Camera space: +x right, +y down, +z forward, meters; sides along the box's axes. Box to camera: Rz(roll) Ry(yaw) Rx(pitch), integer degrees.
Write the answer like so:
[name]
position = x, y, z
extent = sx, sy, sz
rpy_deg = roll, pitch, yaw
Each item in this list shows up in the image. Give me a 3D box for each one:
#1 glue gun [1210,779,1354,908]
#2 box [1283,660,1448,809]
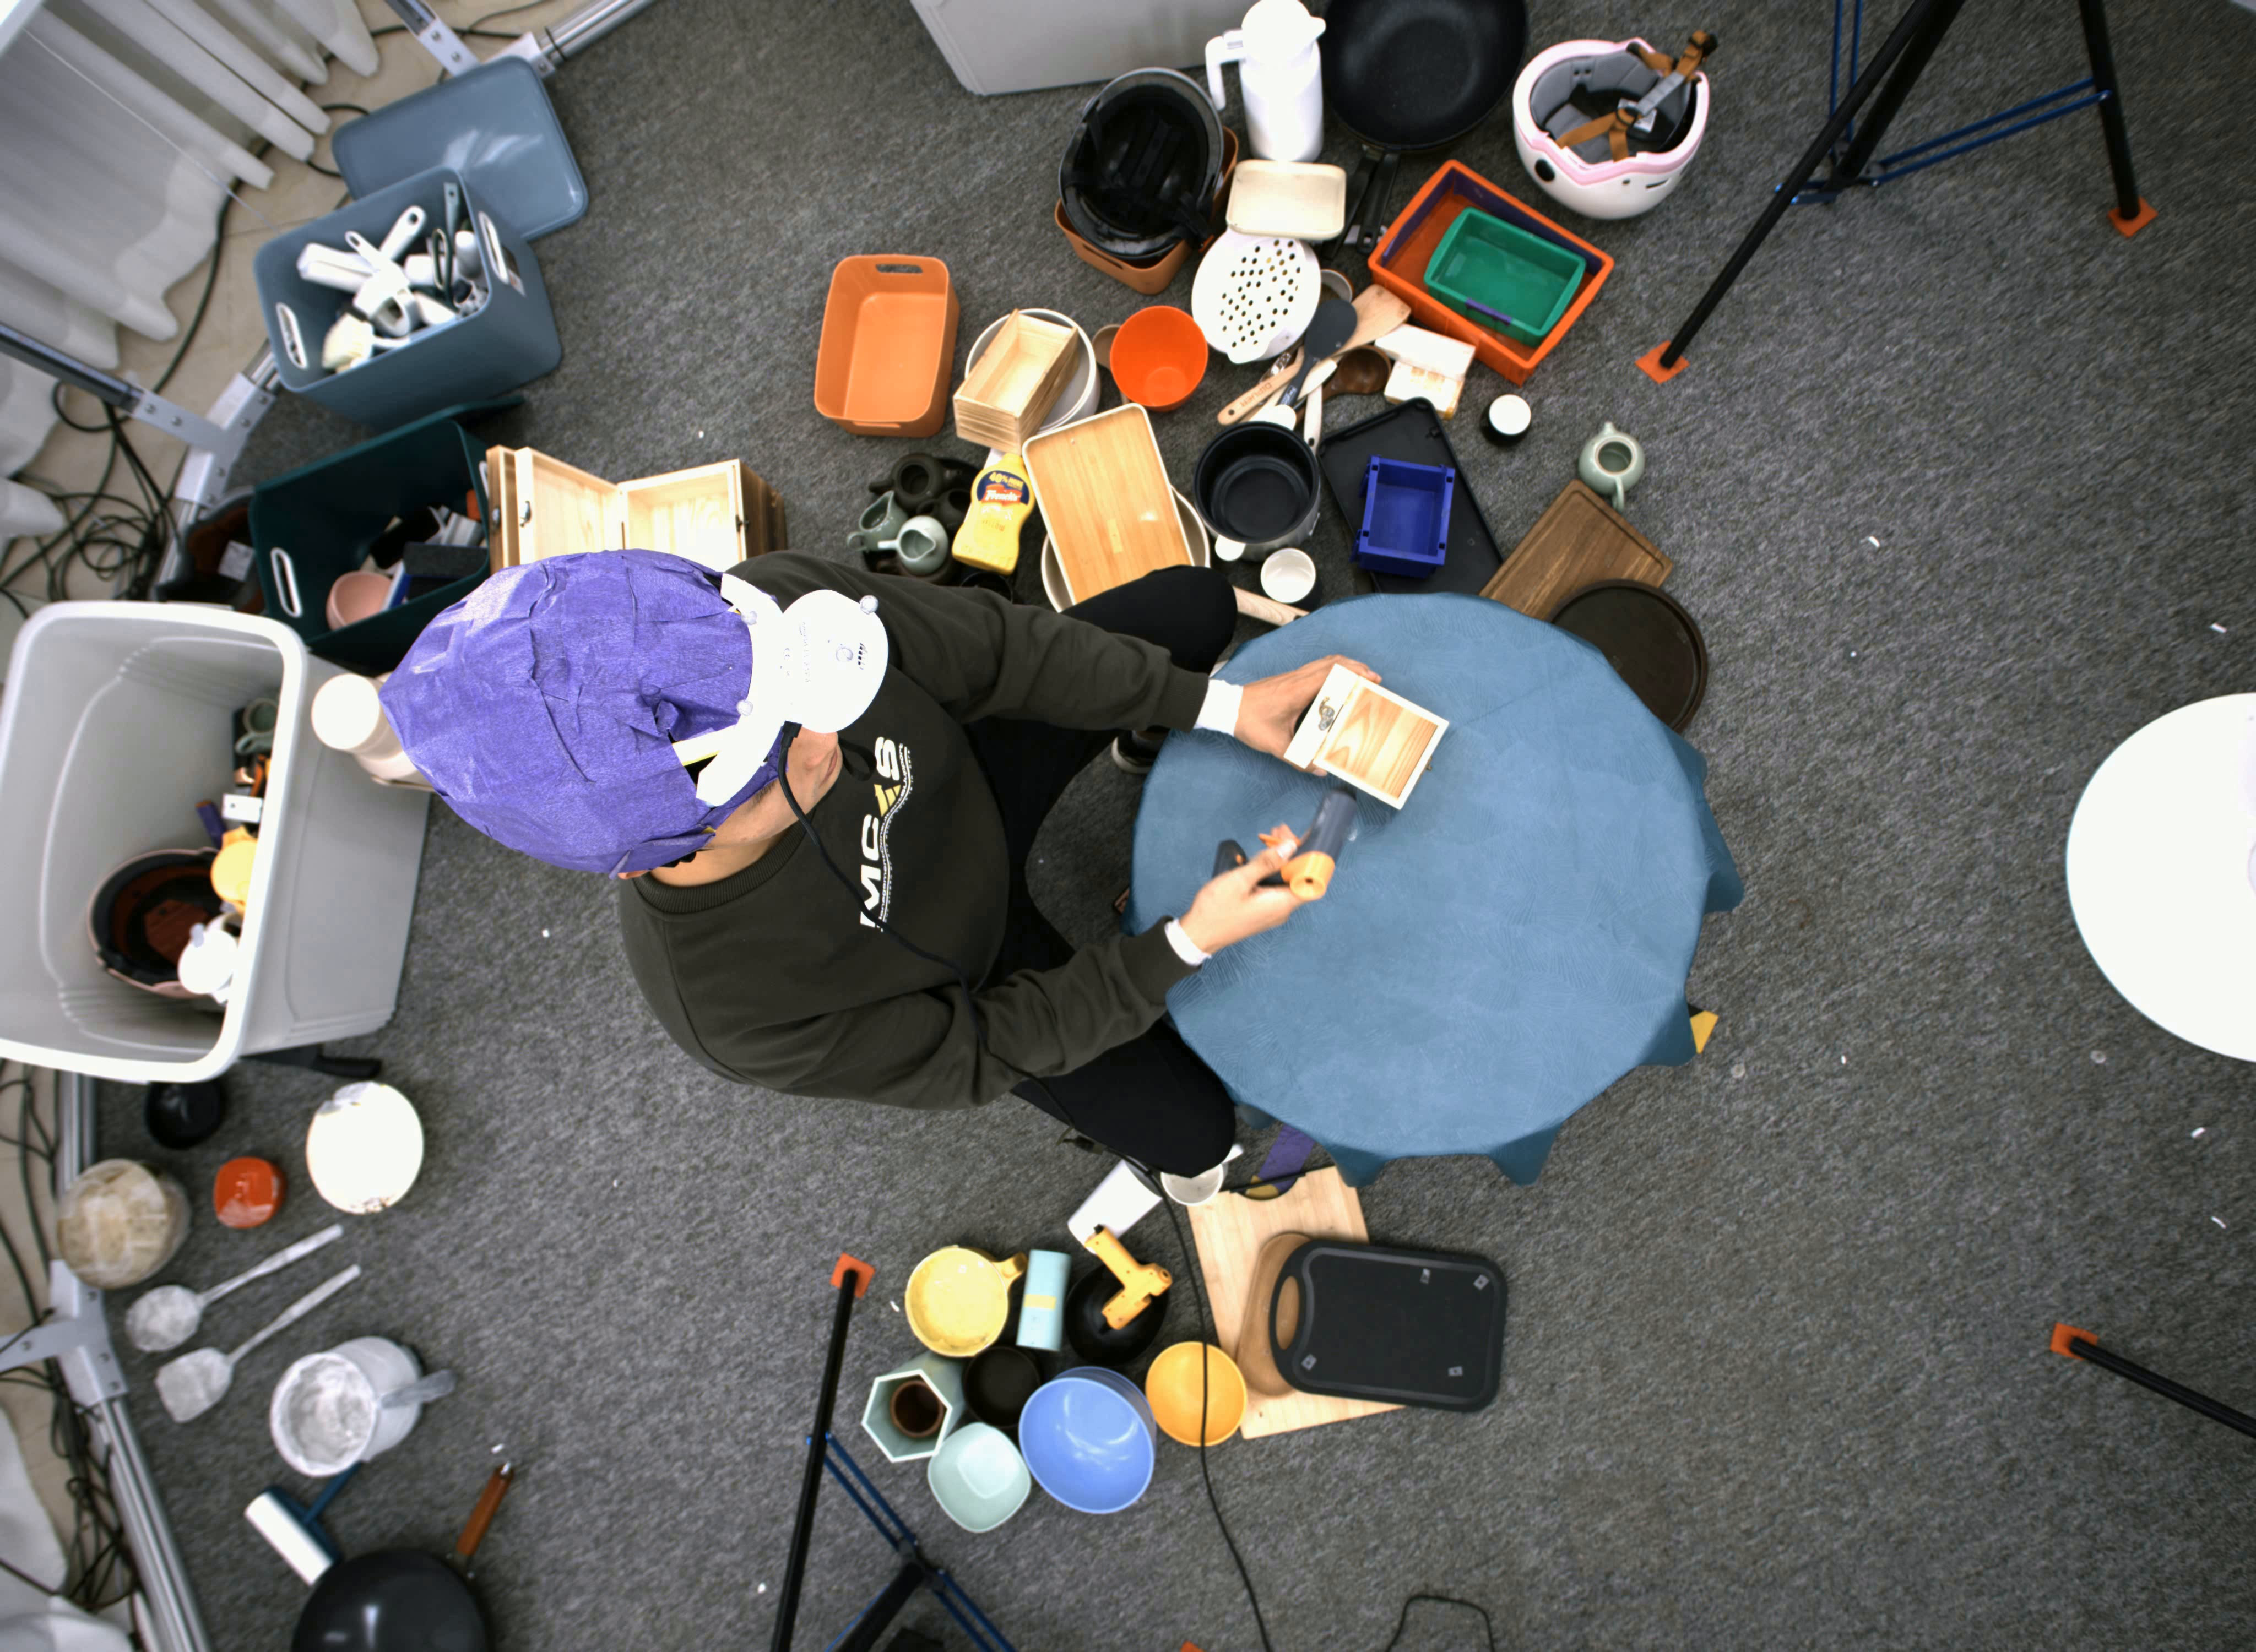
[glue gun]
position = 0.148, 0.018, 1.298
extent = 0.142, 0.114, 0.041
rpy_deg = -24, 126, 33
[box]
position = 0.242, -0.089, 1.372
extent = 0.134, 0.183, 0.103
rpy_deg = 28, 100, 9
